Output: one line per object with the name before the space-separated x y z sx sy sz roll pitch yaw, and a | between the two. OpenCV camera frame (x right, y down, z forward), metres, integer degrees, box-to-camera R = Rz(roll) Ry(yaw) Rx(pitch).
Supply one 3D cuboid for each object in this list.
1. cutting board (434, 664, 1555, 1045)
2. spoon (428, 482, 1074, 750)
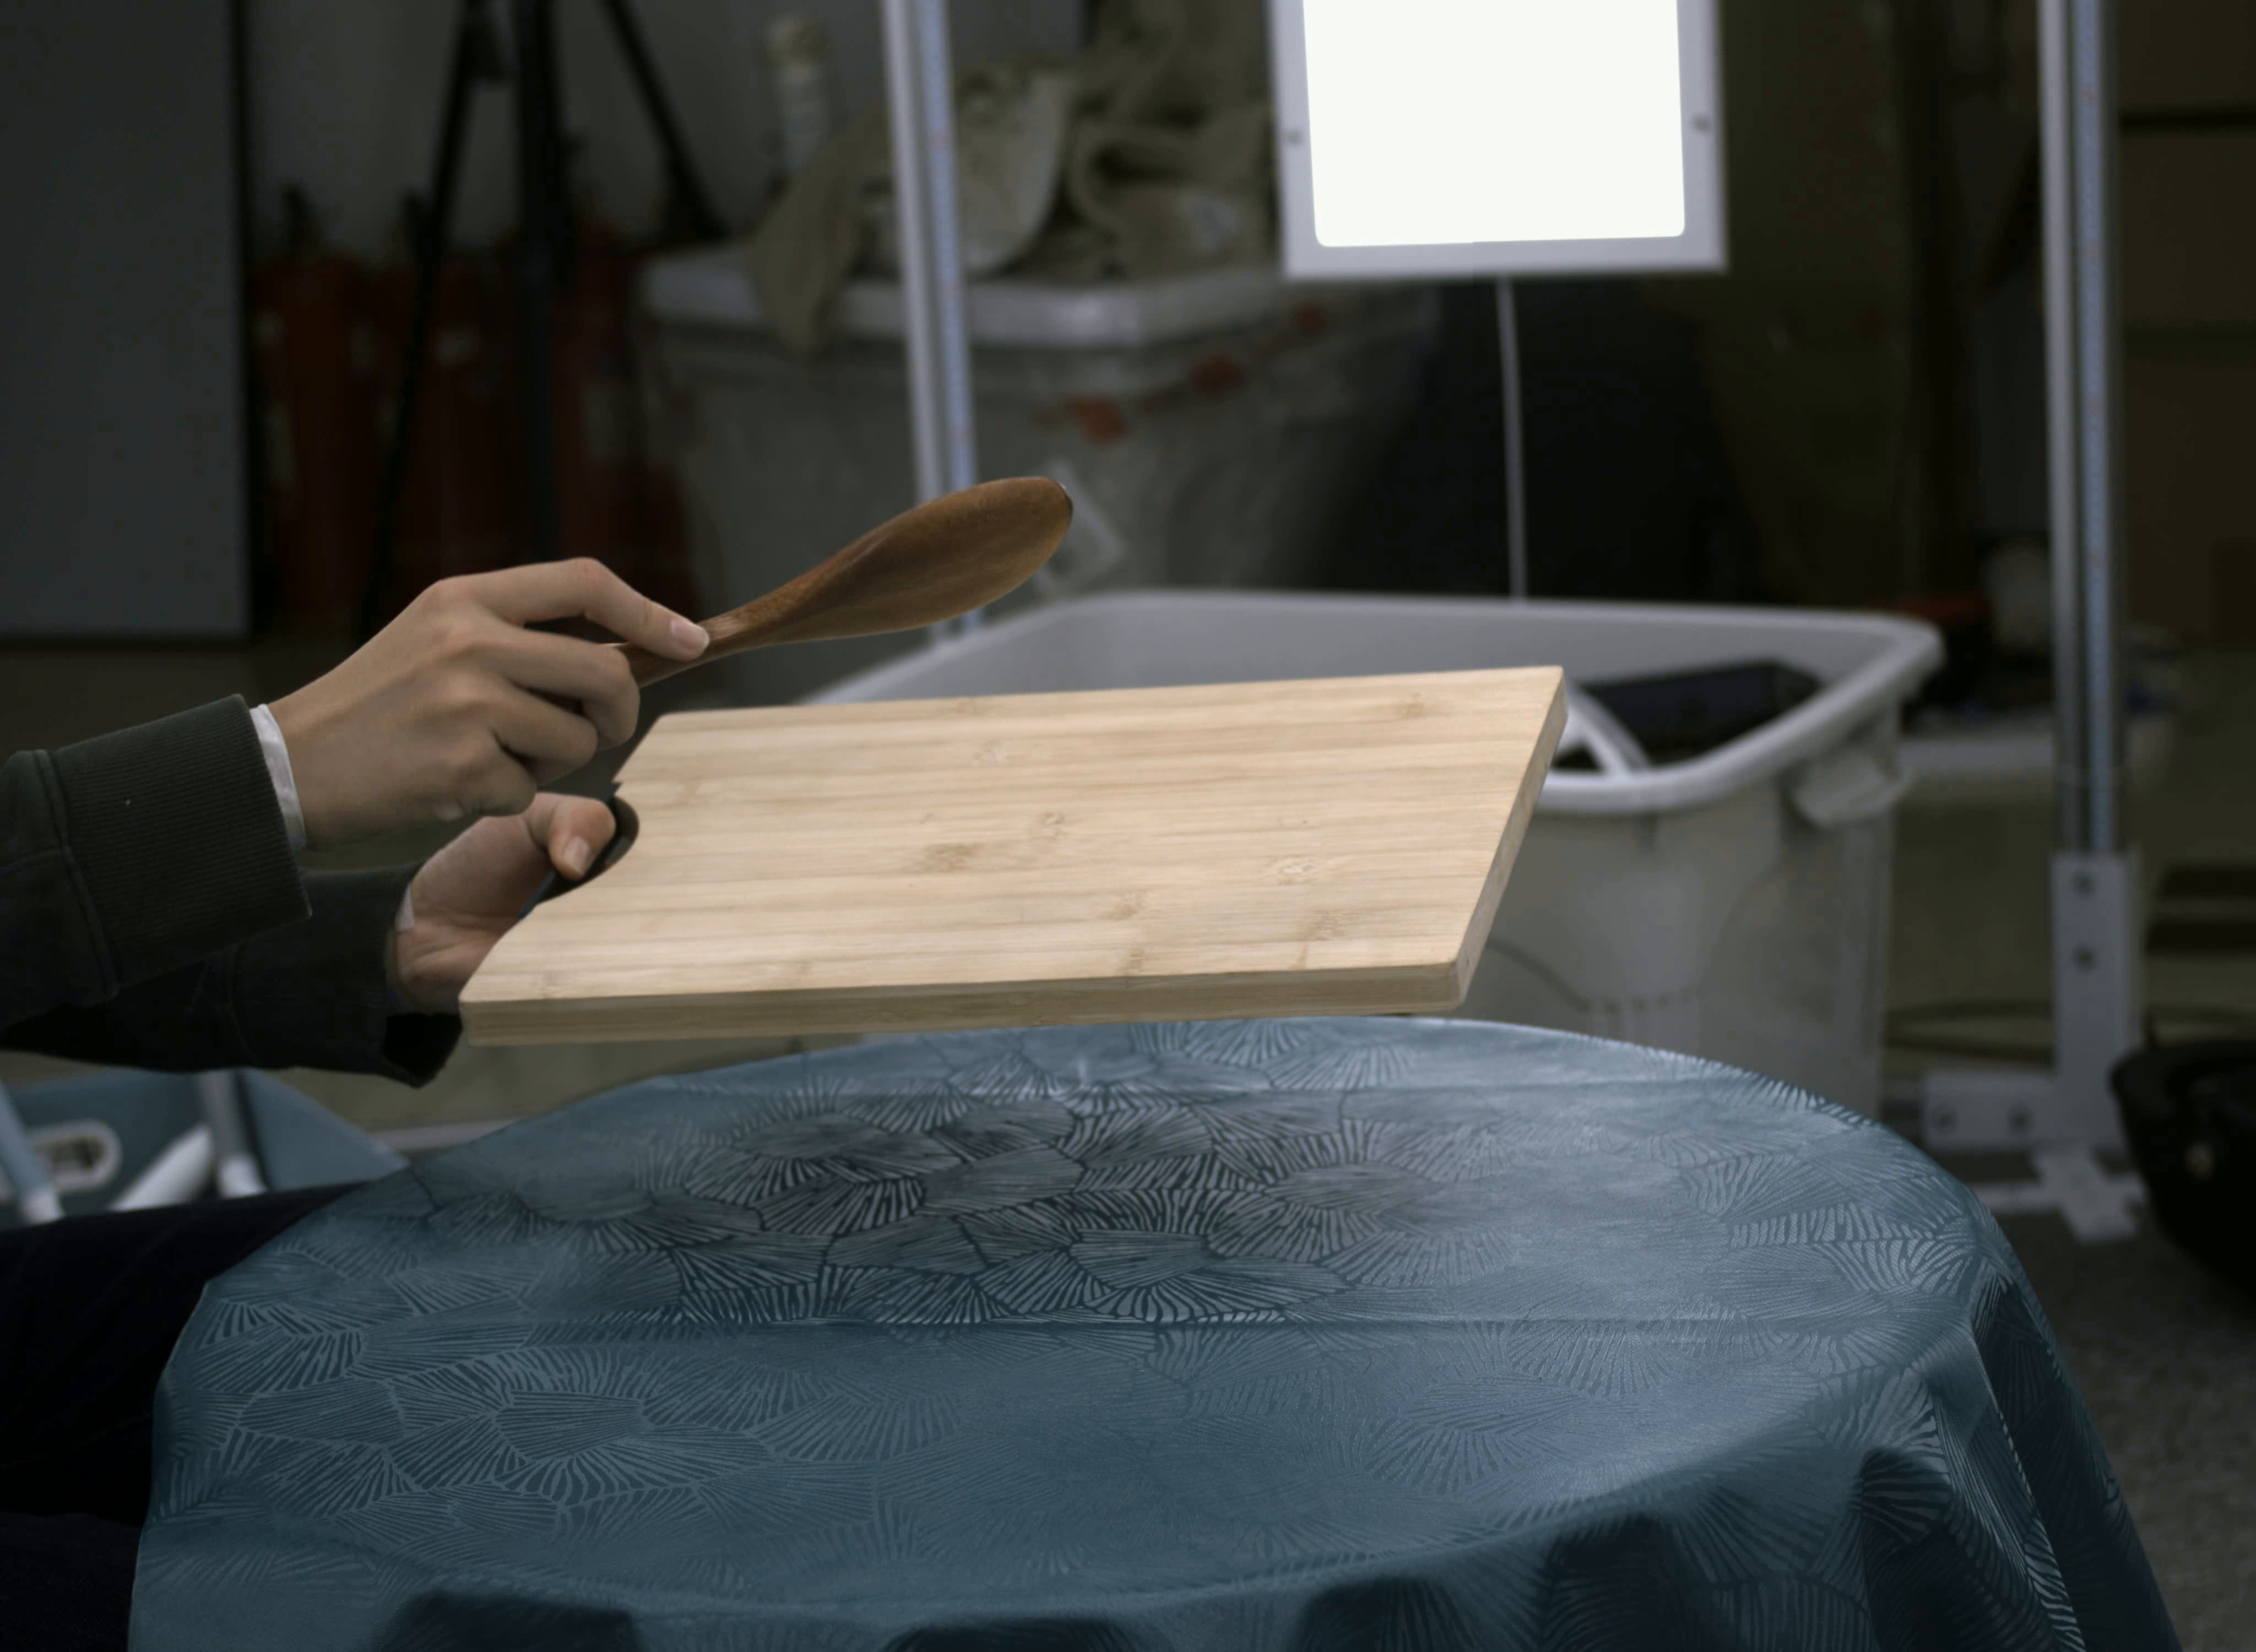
cutting board | -0.039 0.009 1.890 0.352 0.023 0.247 -3 23 16
spoon | -0.114 -0.063 1.709 0.213 0.017 0.076 -18 -16 -13
